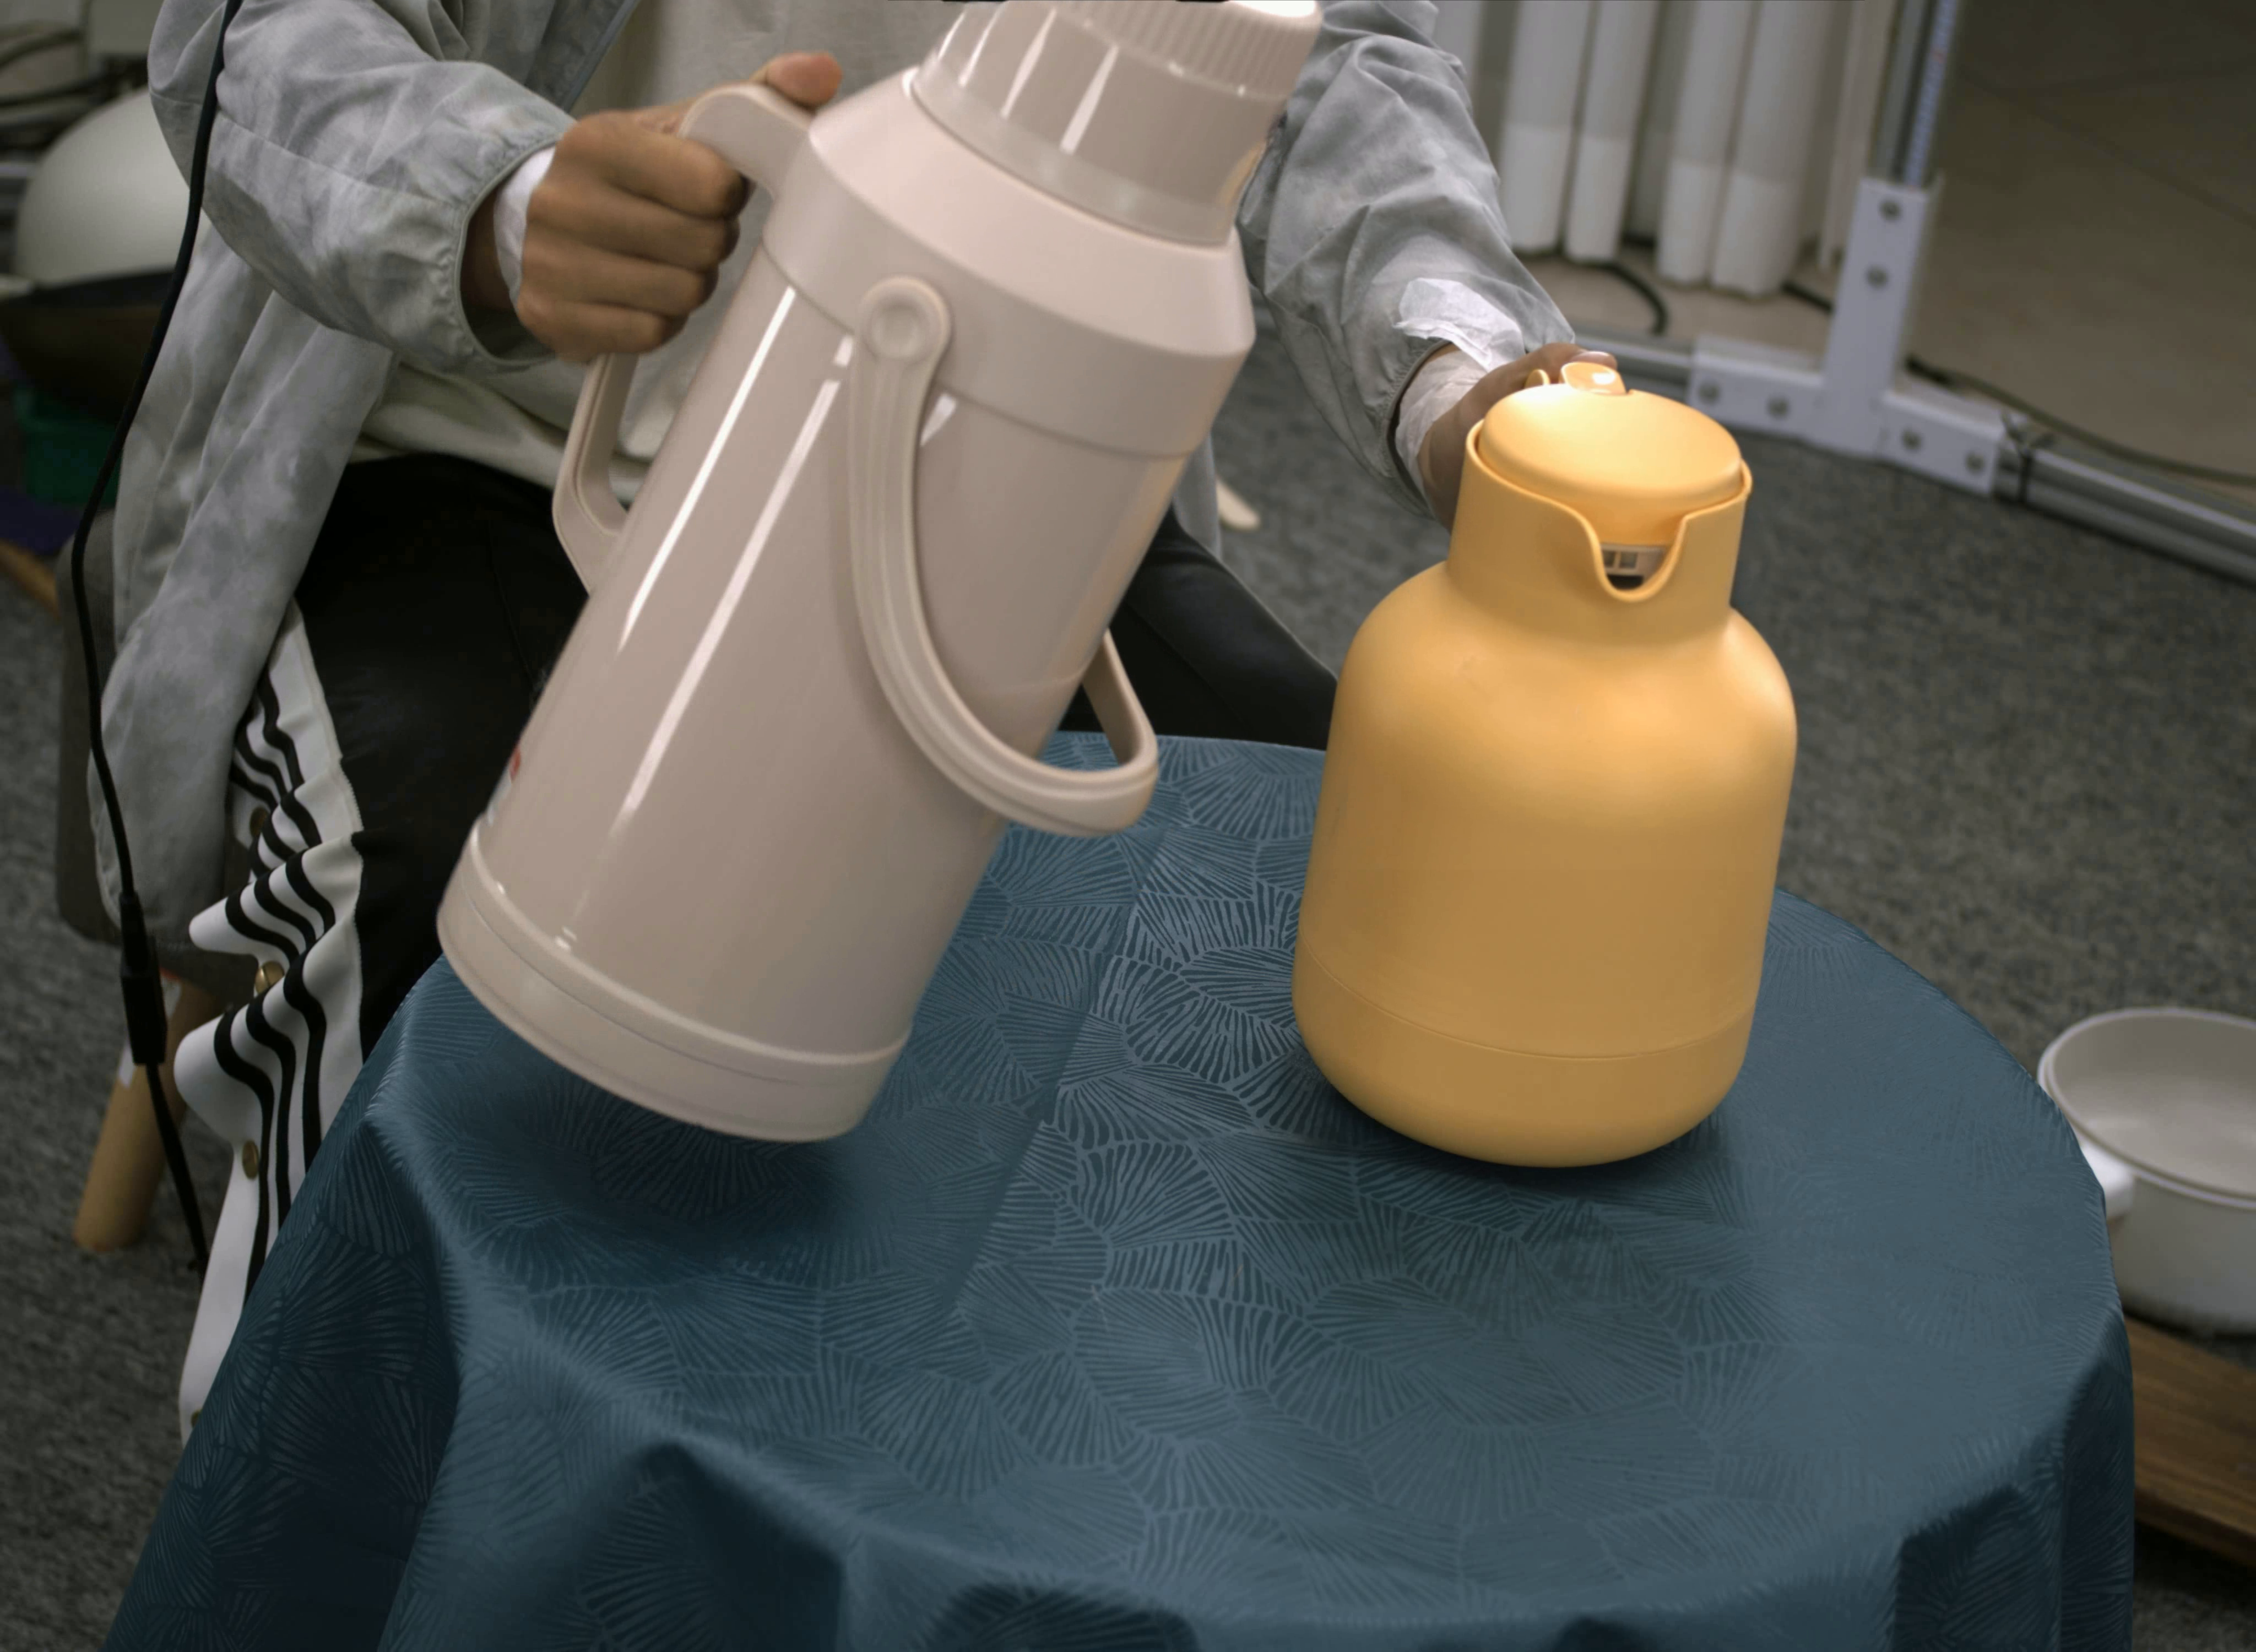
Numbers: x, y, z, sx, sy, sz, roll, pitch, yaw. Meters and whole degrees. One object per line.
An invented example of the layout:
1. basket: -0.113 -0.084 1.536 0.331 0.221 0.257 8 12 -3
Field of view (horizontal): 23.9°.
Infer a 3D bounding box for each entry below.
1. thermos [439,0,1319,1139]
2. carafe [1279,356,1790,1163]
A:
1. thermos: -0.085 -0.113 1.715 0.207 0.406 0.175 32 21 12
2. carafe: 0.147 -0.032 1.856 0.163 0.259 0.203 8 27 -4
